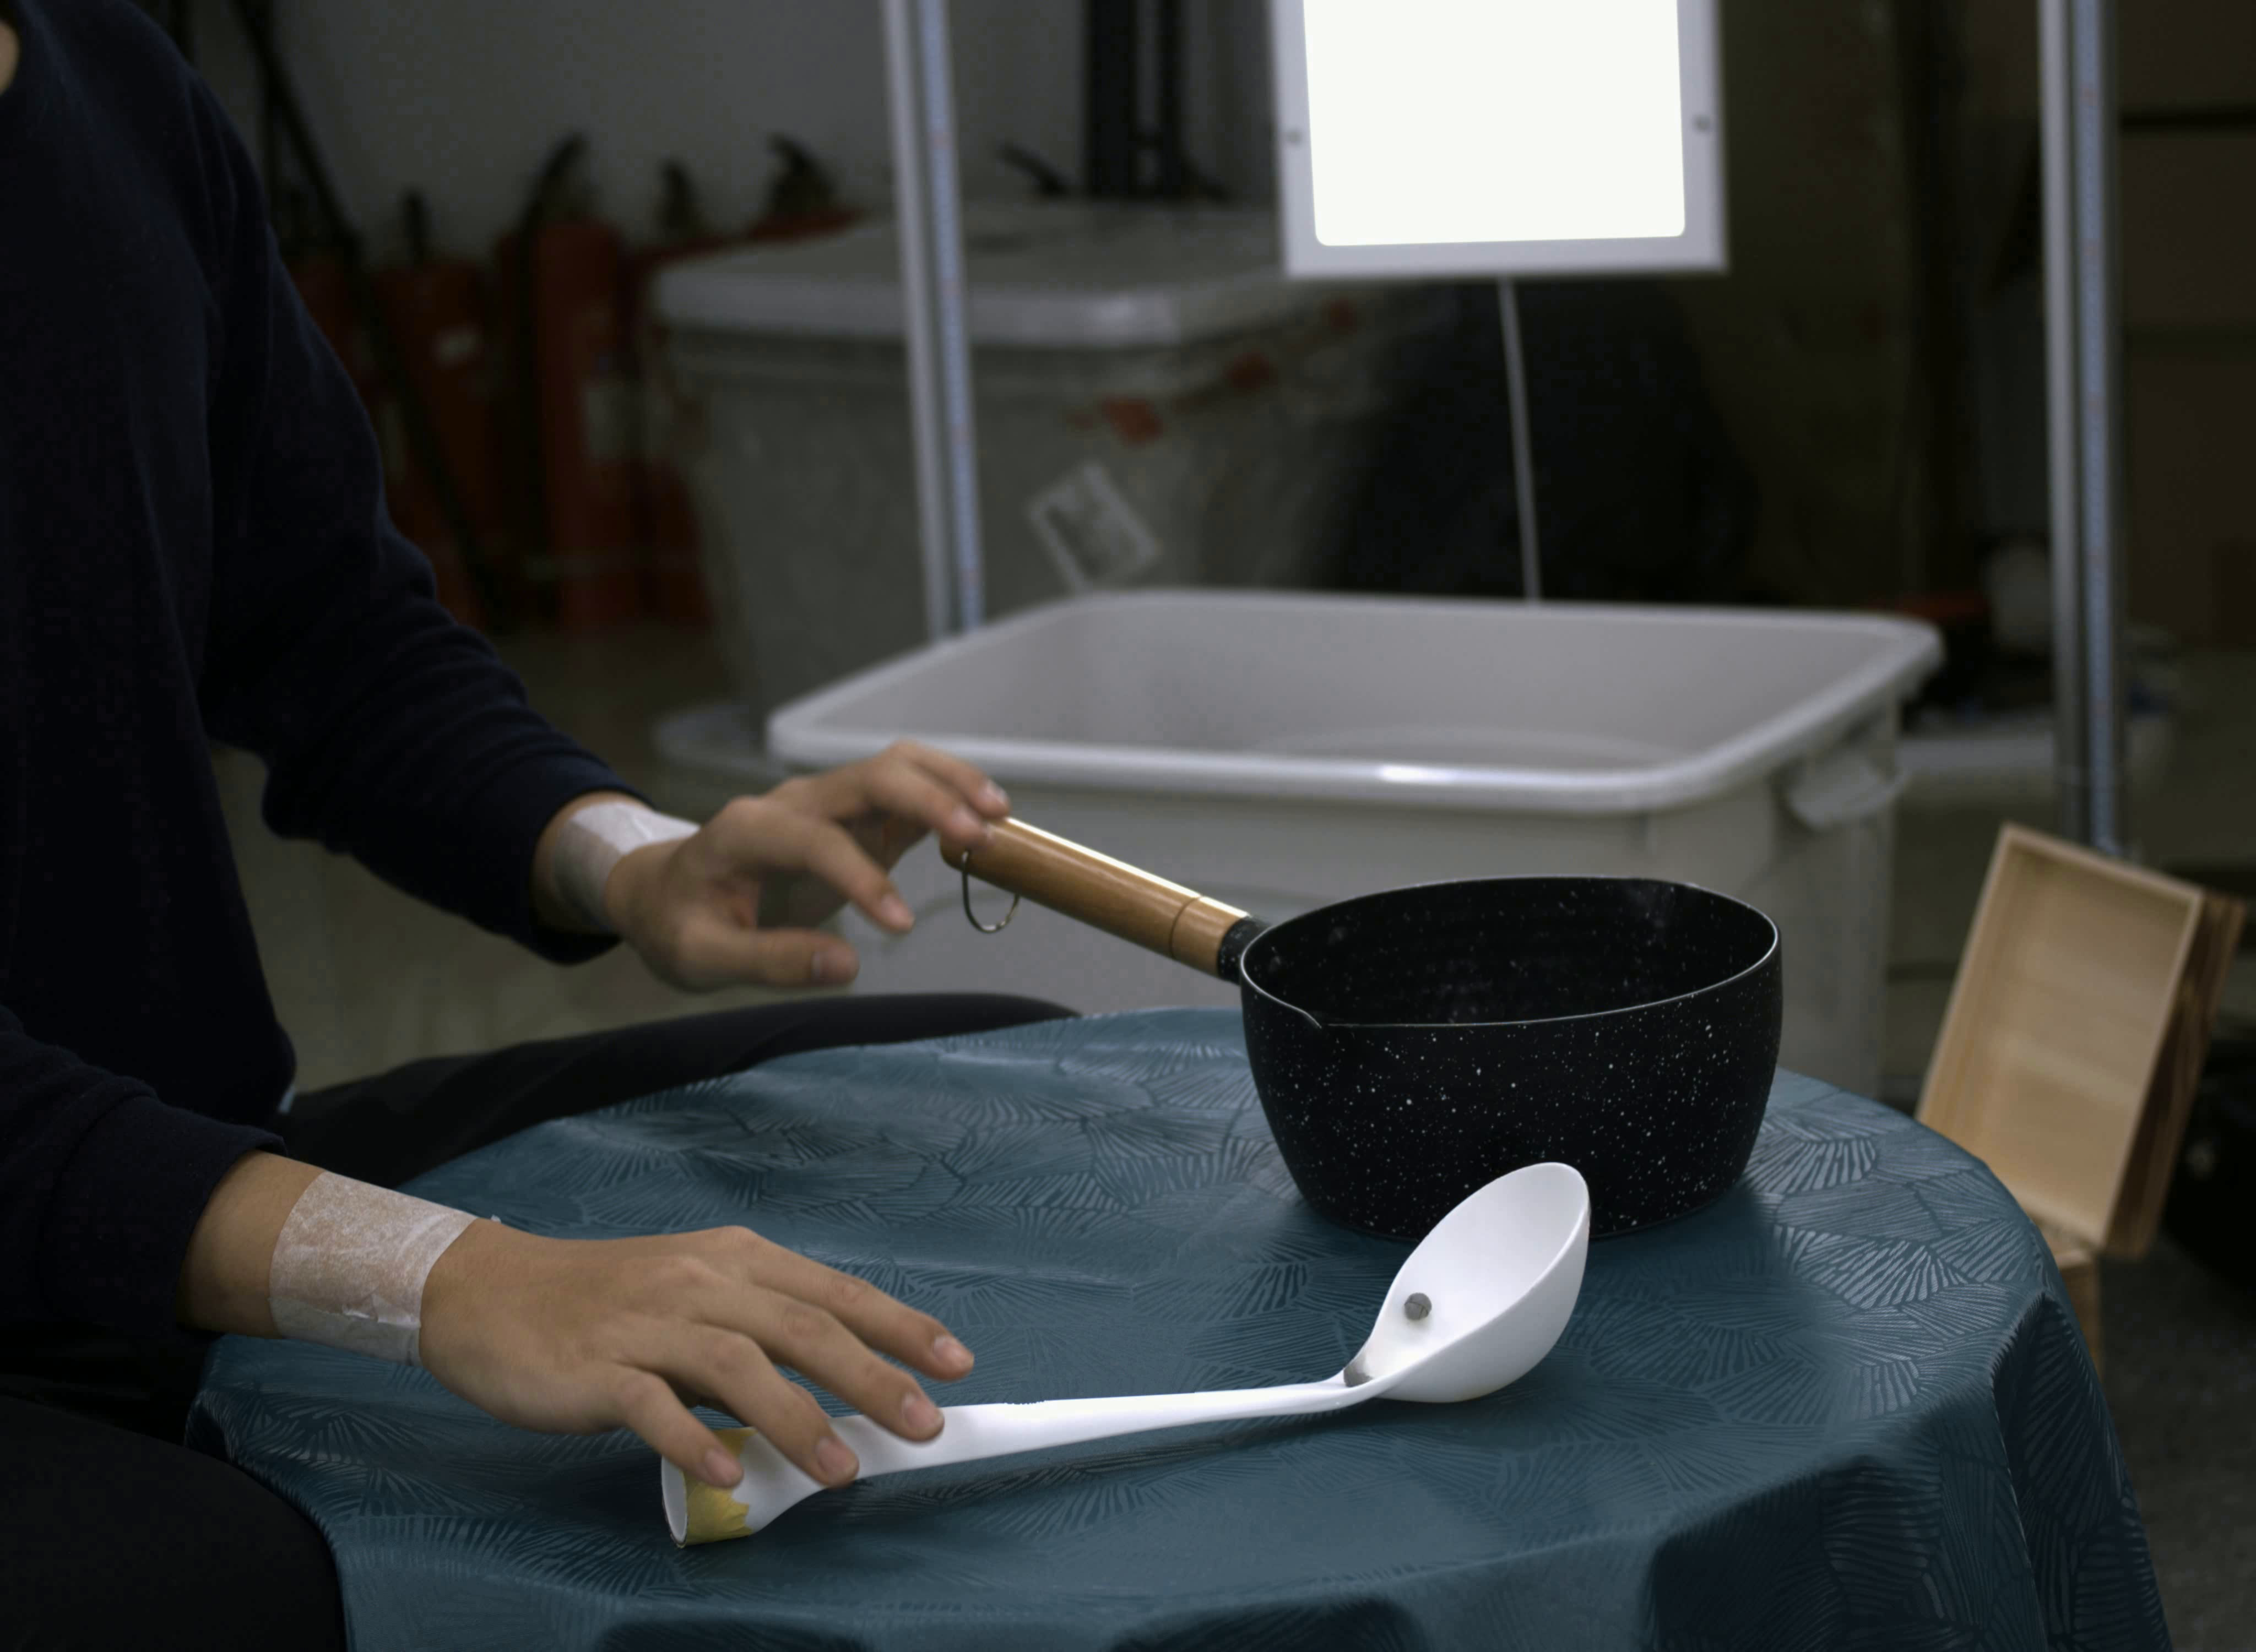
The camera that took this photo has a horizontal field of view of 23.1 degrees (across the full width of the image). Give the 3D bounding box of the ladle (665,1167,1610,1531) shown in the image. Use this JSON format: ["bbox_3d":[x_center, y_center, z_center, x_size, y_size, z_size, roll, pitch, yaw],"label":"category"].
[{"bbox_3d":[0.005,0.157,1.644,0.289,0.070,0.091,-6,11,-11],"label":"ladle"}]

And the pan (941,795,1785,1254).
[{"bbox_3d":[0.069,0.061,1.910,0.350,0.108,0.202,8,20,39],"label":"pan"}]
